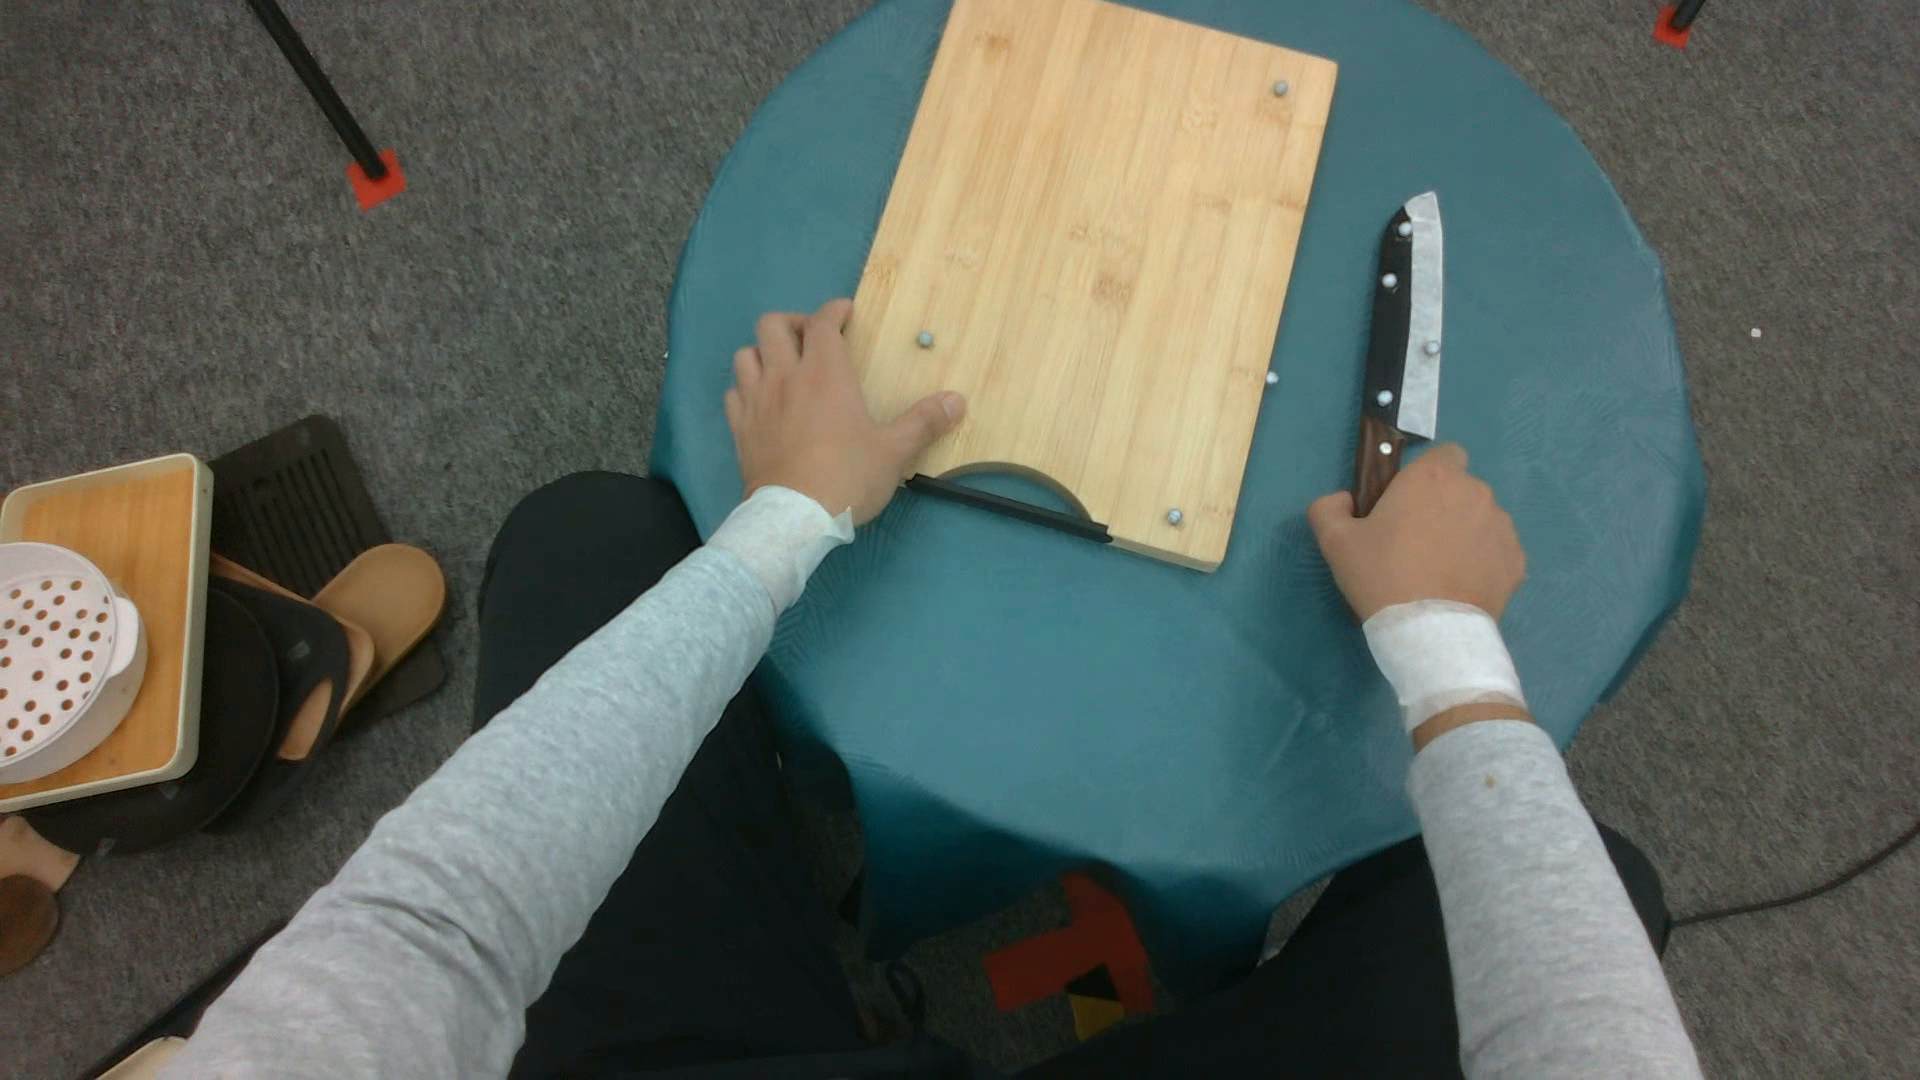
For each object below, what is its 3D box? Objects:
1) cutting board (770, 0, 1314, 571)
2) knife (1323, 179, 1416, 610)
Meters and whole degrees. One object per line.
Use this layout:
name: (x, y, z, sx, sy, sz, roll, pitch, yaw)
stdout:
cutting board: (0.058, -0.173, 0.814, 0.251, 0.023, 0.349, 15, 71, 2)
knife: (0.240, -0.093, 0.800, 0.050, 0.020, 0.290, 16, 69, -8)
